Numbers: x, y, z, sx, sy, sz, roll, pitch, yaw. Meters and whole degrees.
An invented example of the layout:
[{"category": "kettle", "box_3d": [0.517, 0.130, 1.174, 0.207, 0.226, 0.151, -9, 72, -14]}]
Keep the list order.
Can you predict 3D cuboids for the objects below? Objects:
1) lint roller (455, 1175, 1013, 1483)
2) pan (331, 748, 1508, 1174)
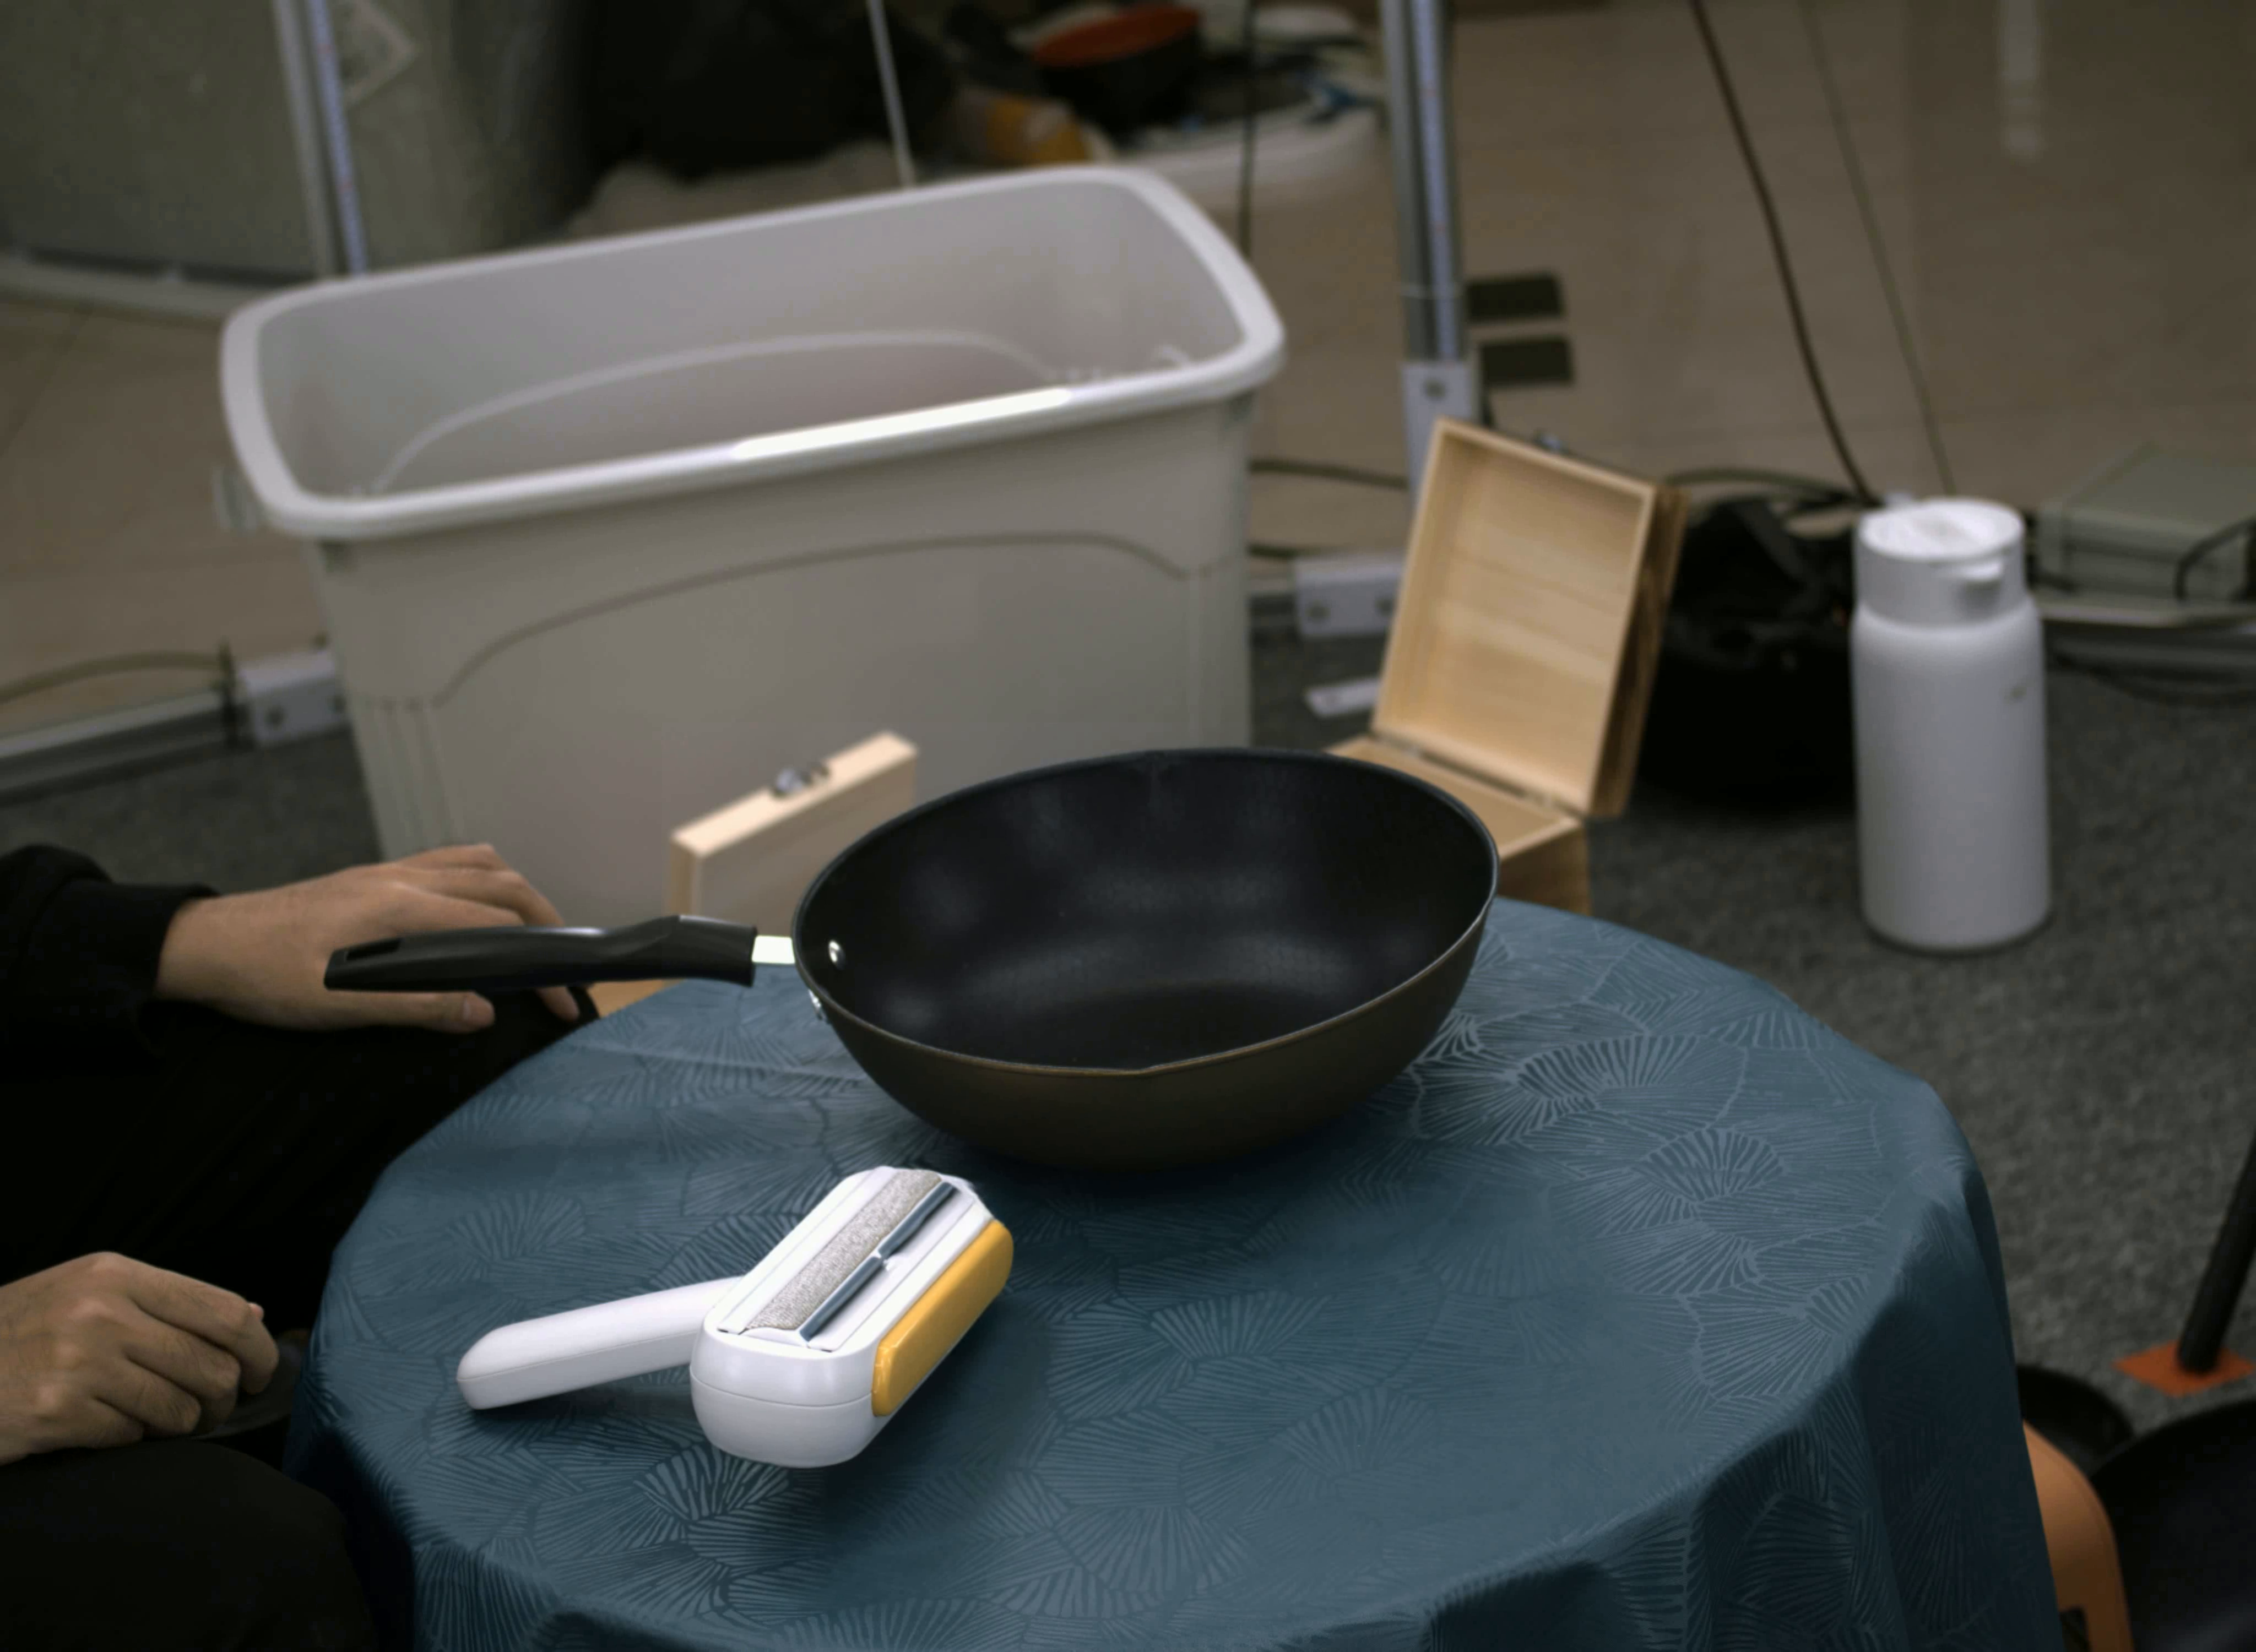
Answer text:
[{"category": "lint roller", "box_3d": [-0.153, 0.179, 2.015, 0.192, 0.075, 0.190, 2, 21, 21]}, {"category": "pan", "box_3d": [-0.079, 0.068, 2.214, 0.462, 0.088, 0.284, -5, 25, 5]}]
